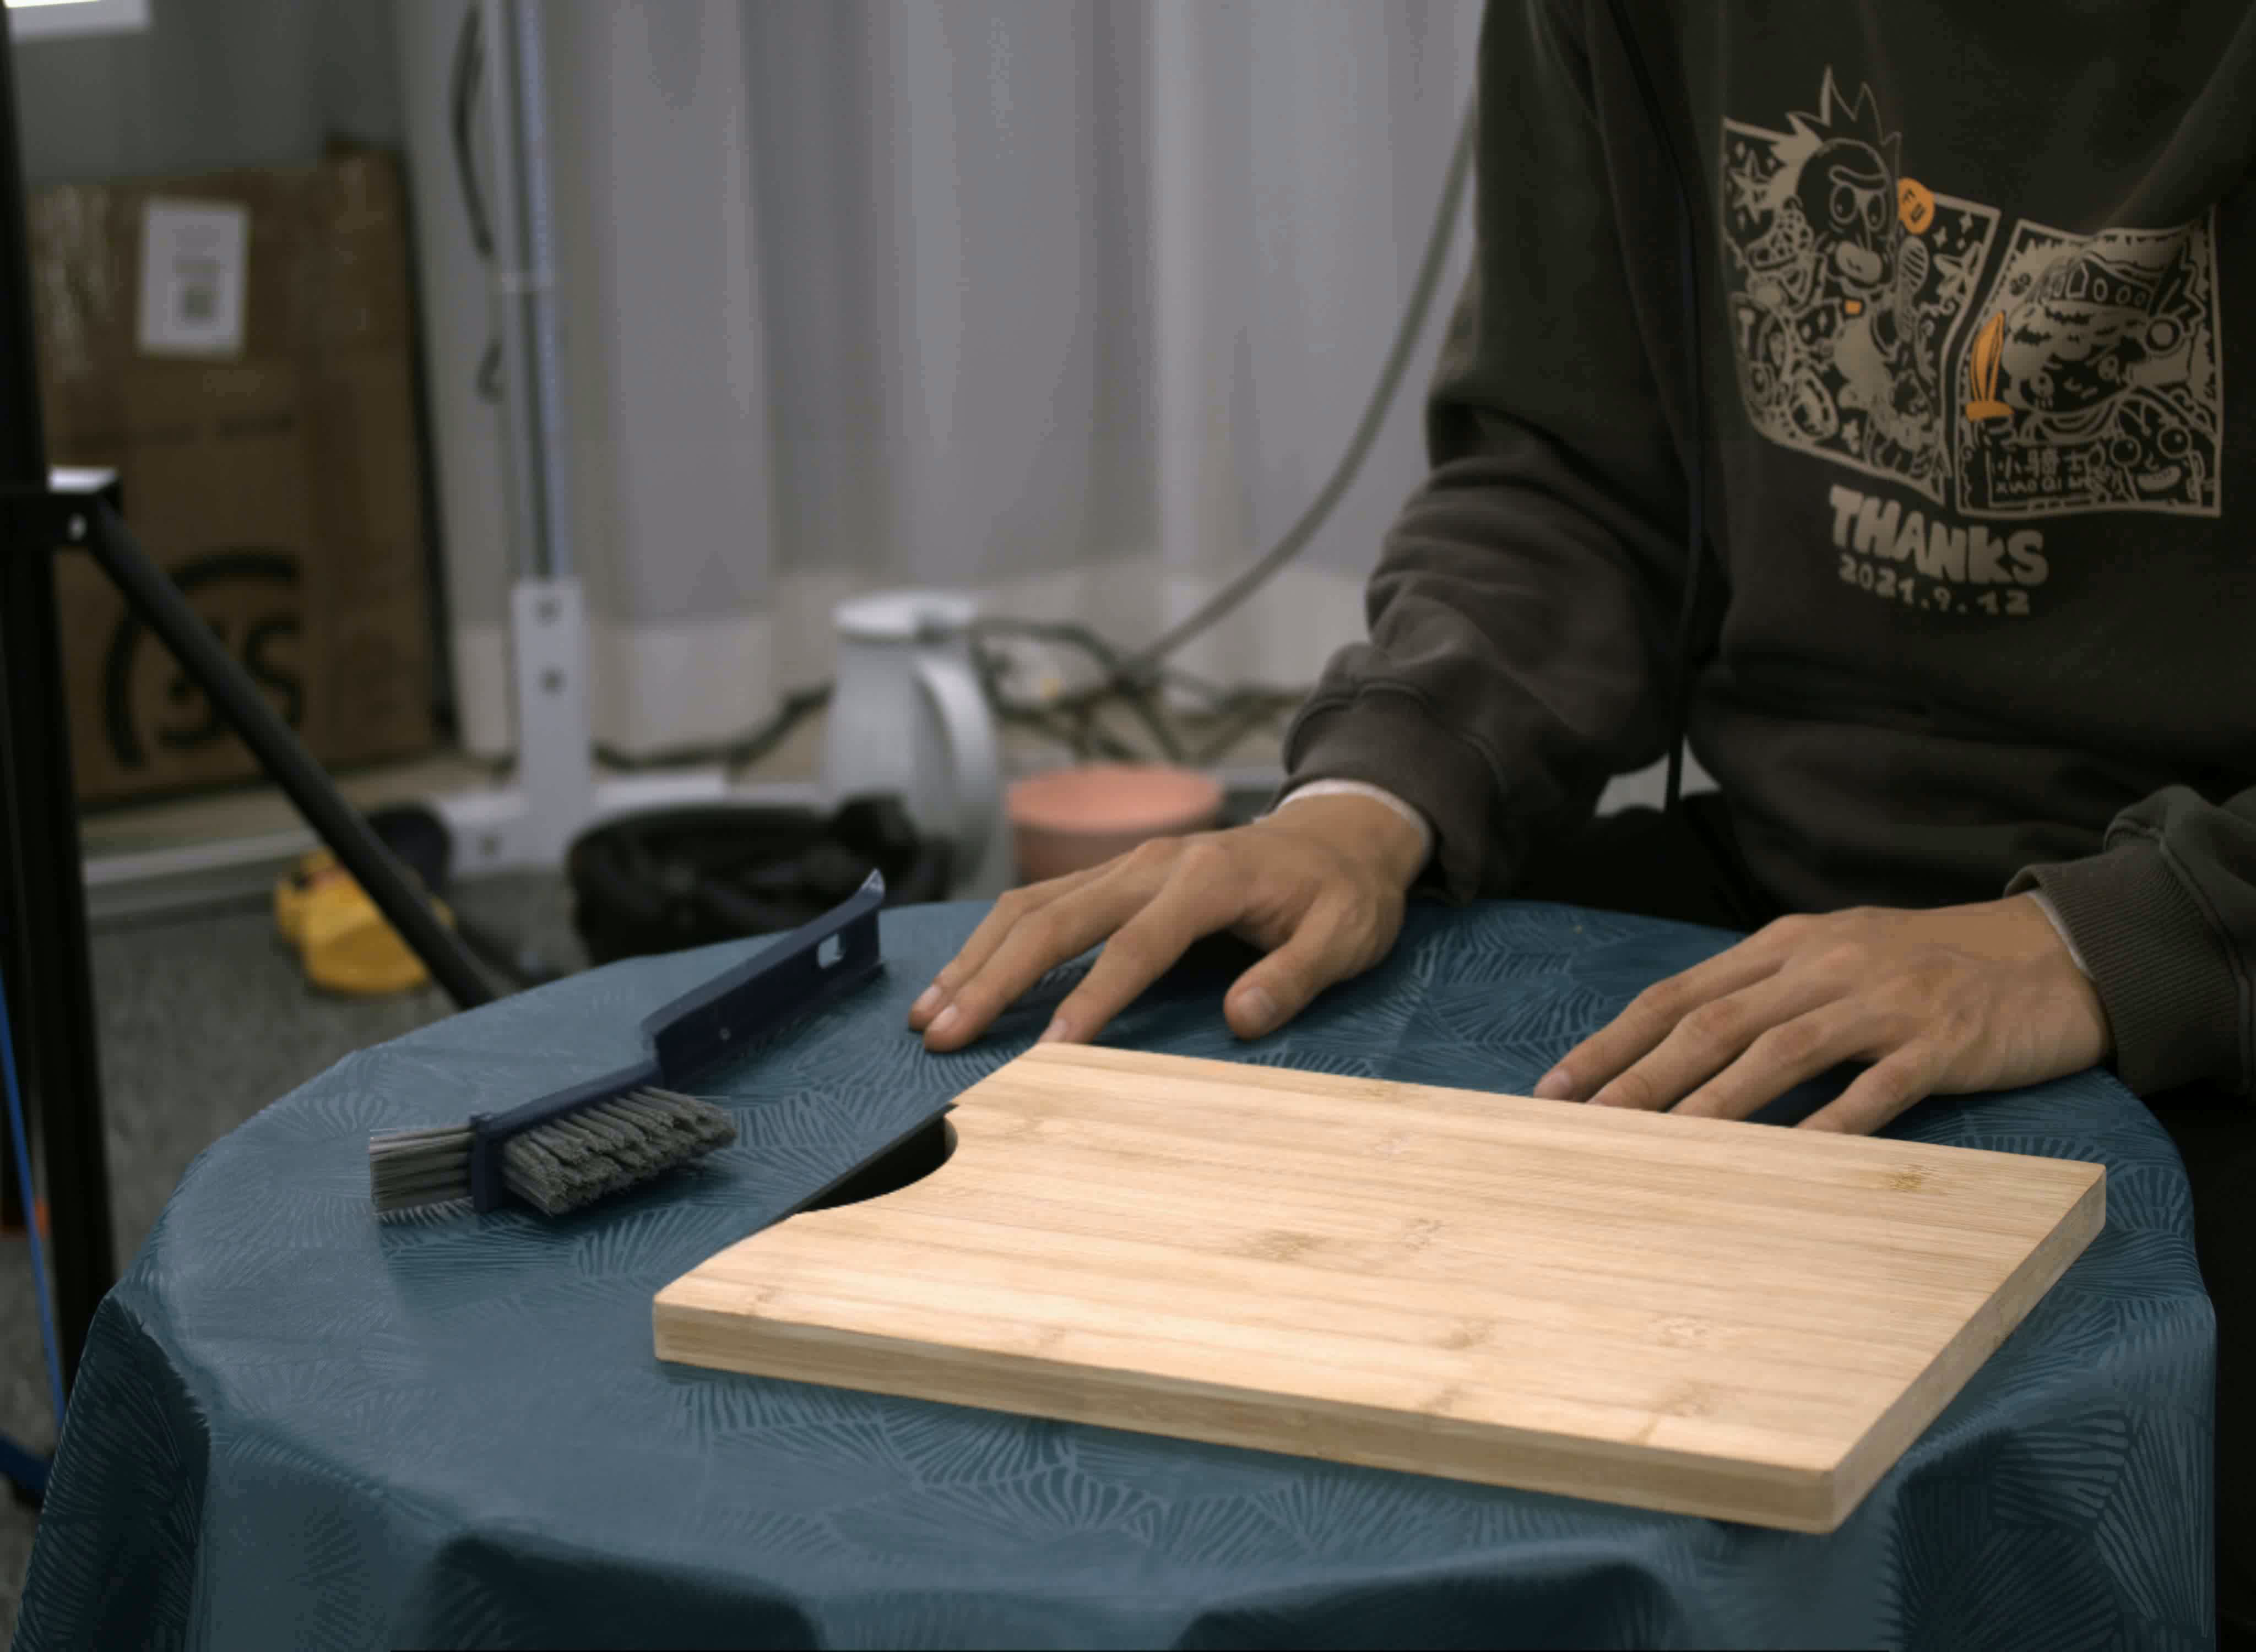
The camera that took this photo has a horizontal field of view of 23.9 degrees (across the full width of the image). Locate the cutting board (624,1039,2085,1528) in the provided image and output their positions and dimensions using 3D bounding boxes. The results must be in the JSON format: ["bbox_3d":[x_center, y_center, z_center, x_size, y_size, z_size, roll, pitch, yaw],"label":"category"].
[{"bbox_3d":[0.067,0.121,1.475,0.354,0.023,0.247,5,17,26],"label":"cutting board"}]

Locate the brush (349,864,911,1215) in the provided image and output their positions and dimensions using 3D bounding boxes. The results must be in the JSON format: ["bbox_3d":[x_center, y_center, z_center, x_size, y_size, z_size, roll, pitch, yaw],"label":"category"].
[{"bbox_3d":[-0.146,0.066,1.679,0.097,0.033,0.270,3,18,19],"label":"brush"}]
